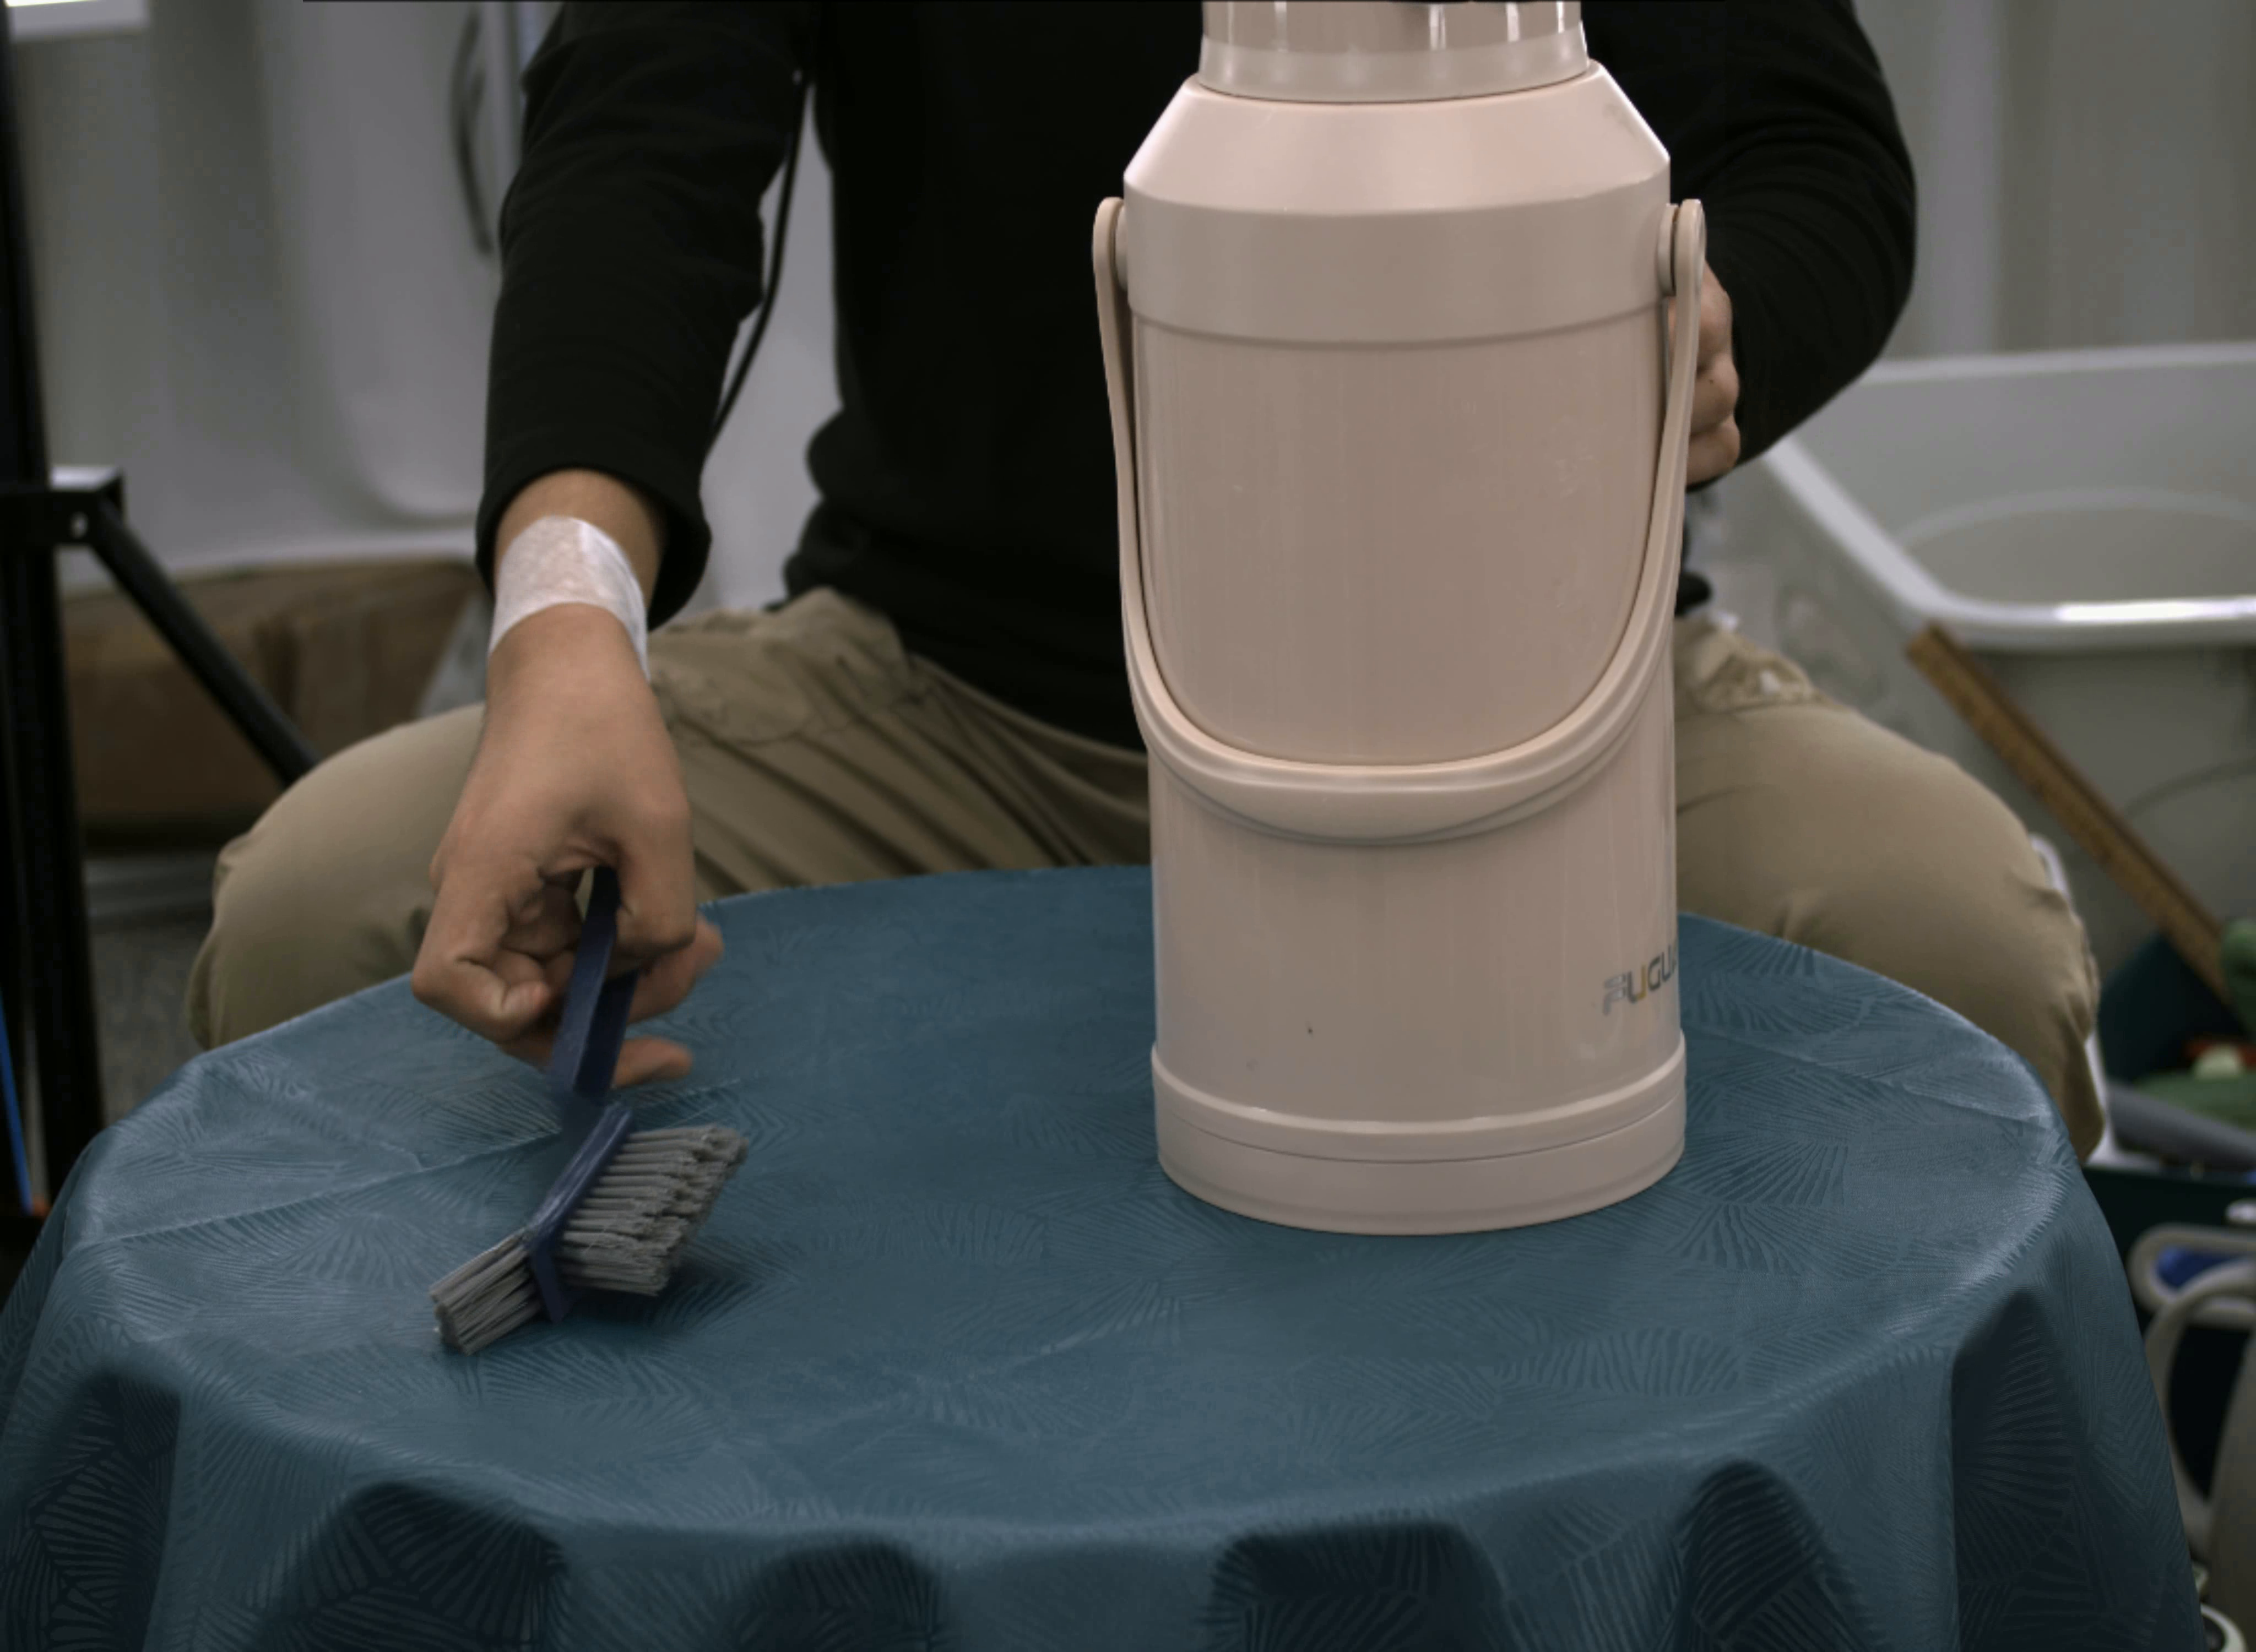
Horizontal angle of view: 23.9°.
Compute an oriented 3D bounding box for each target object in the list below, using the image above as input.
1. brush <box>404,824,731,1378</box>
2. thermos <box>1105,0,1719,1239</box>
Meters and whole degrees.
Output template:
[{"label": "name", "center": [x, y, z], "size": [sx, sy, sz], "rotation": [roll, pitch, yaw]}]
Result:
[{"label": "brush", "center": [-0.169, 0.076, 1.586], "size": [0.095, 0.033, 0.276], "rotation": [-16, 25, -1]}, {"label": "thermos", "center": [0.088, -0.099, 1.546], "size": [0.176, 0.406, 0.205], "rotation": [0, 15, 15]}]
